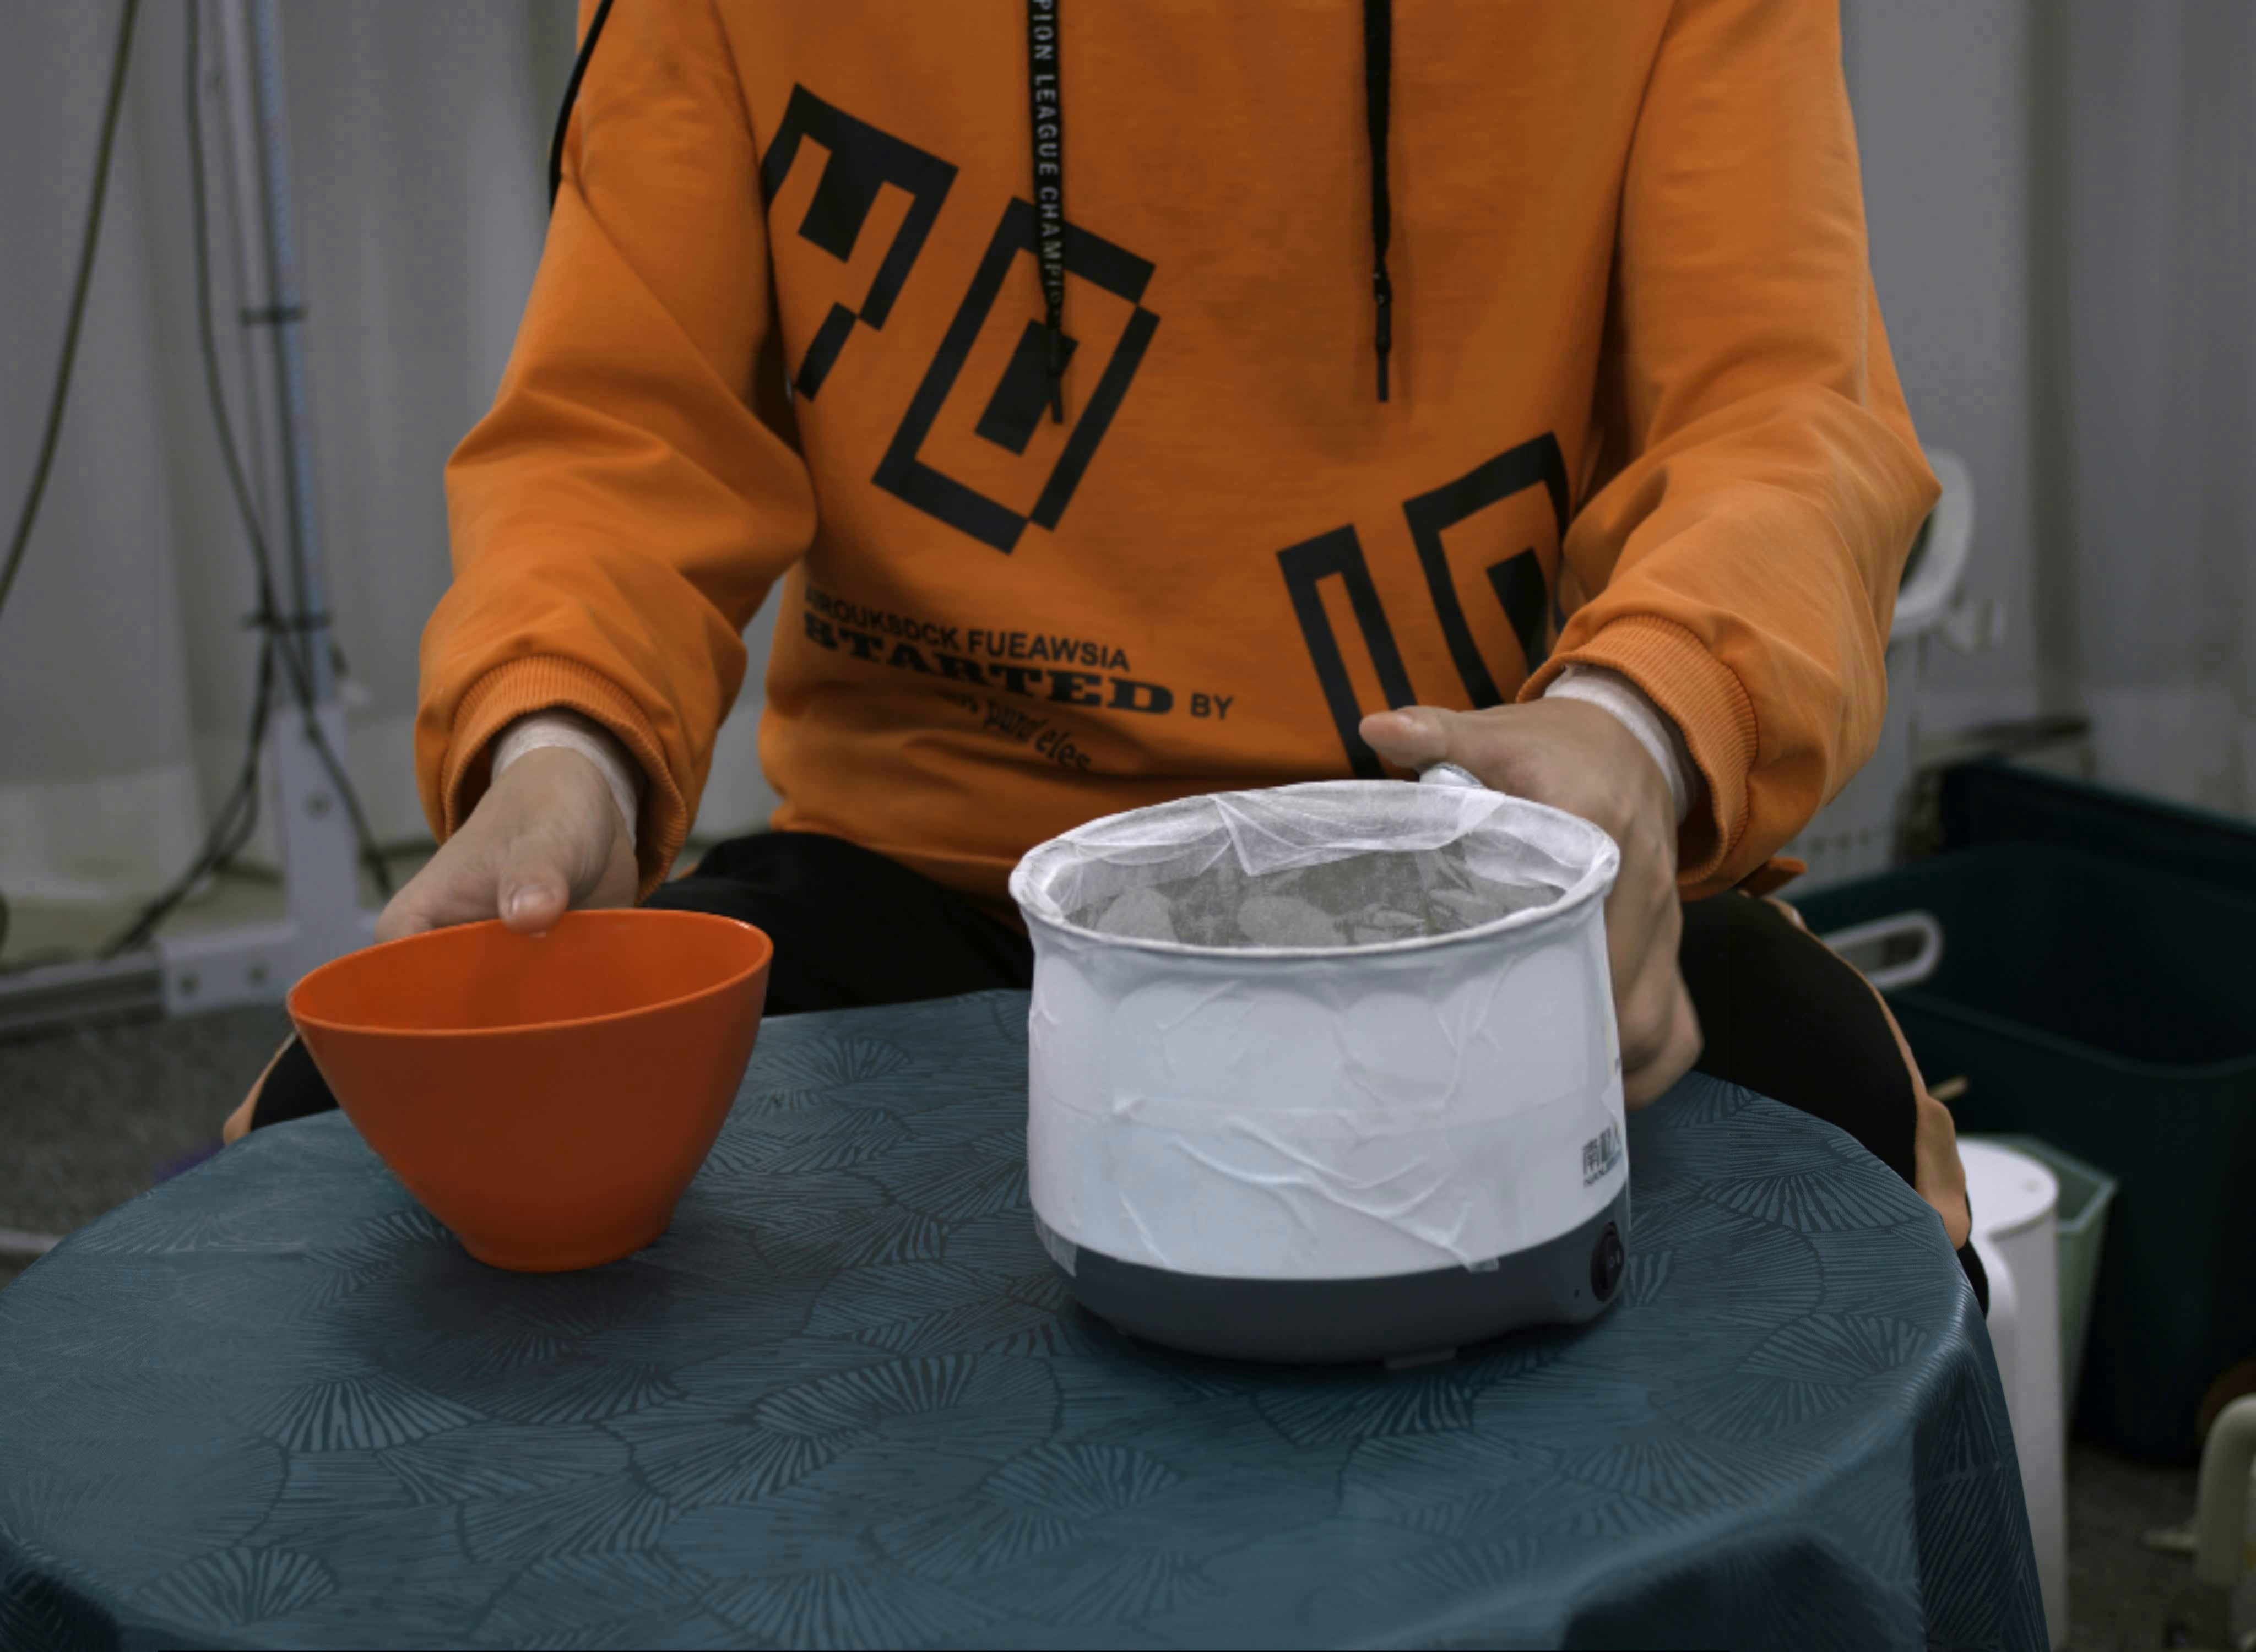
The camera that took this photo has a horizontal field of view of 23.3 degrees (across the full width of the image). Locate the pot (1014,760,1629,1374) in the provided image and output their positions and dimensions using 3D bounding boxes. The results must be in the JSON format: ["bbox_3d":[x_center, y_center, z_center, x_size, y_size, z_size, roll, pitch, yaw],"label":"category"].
[{"bbox_3d":[0.069,0.065,1.624,0.179,0.136,0.234,4,17,24],"label":"pot"}]

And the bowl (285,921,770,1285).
[{"bbox_3d":[-0.179,0.085,1.672,0.147,0.104,0.149,-3,20,1],"label":"bowl"}]
